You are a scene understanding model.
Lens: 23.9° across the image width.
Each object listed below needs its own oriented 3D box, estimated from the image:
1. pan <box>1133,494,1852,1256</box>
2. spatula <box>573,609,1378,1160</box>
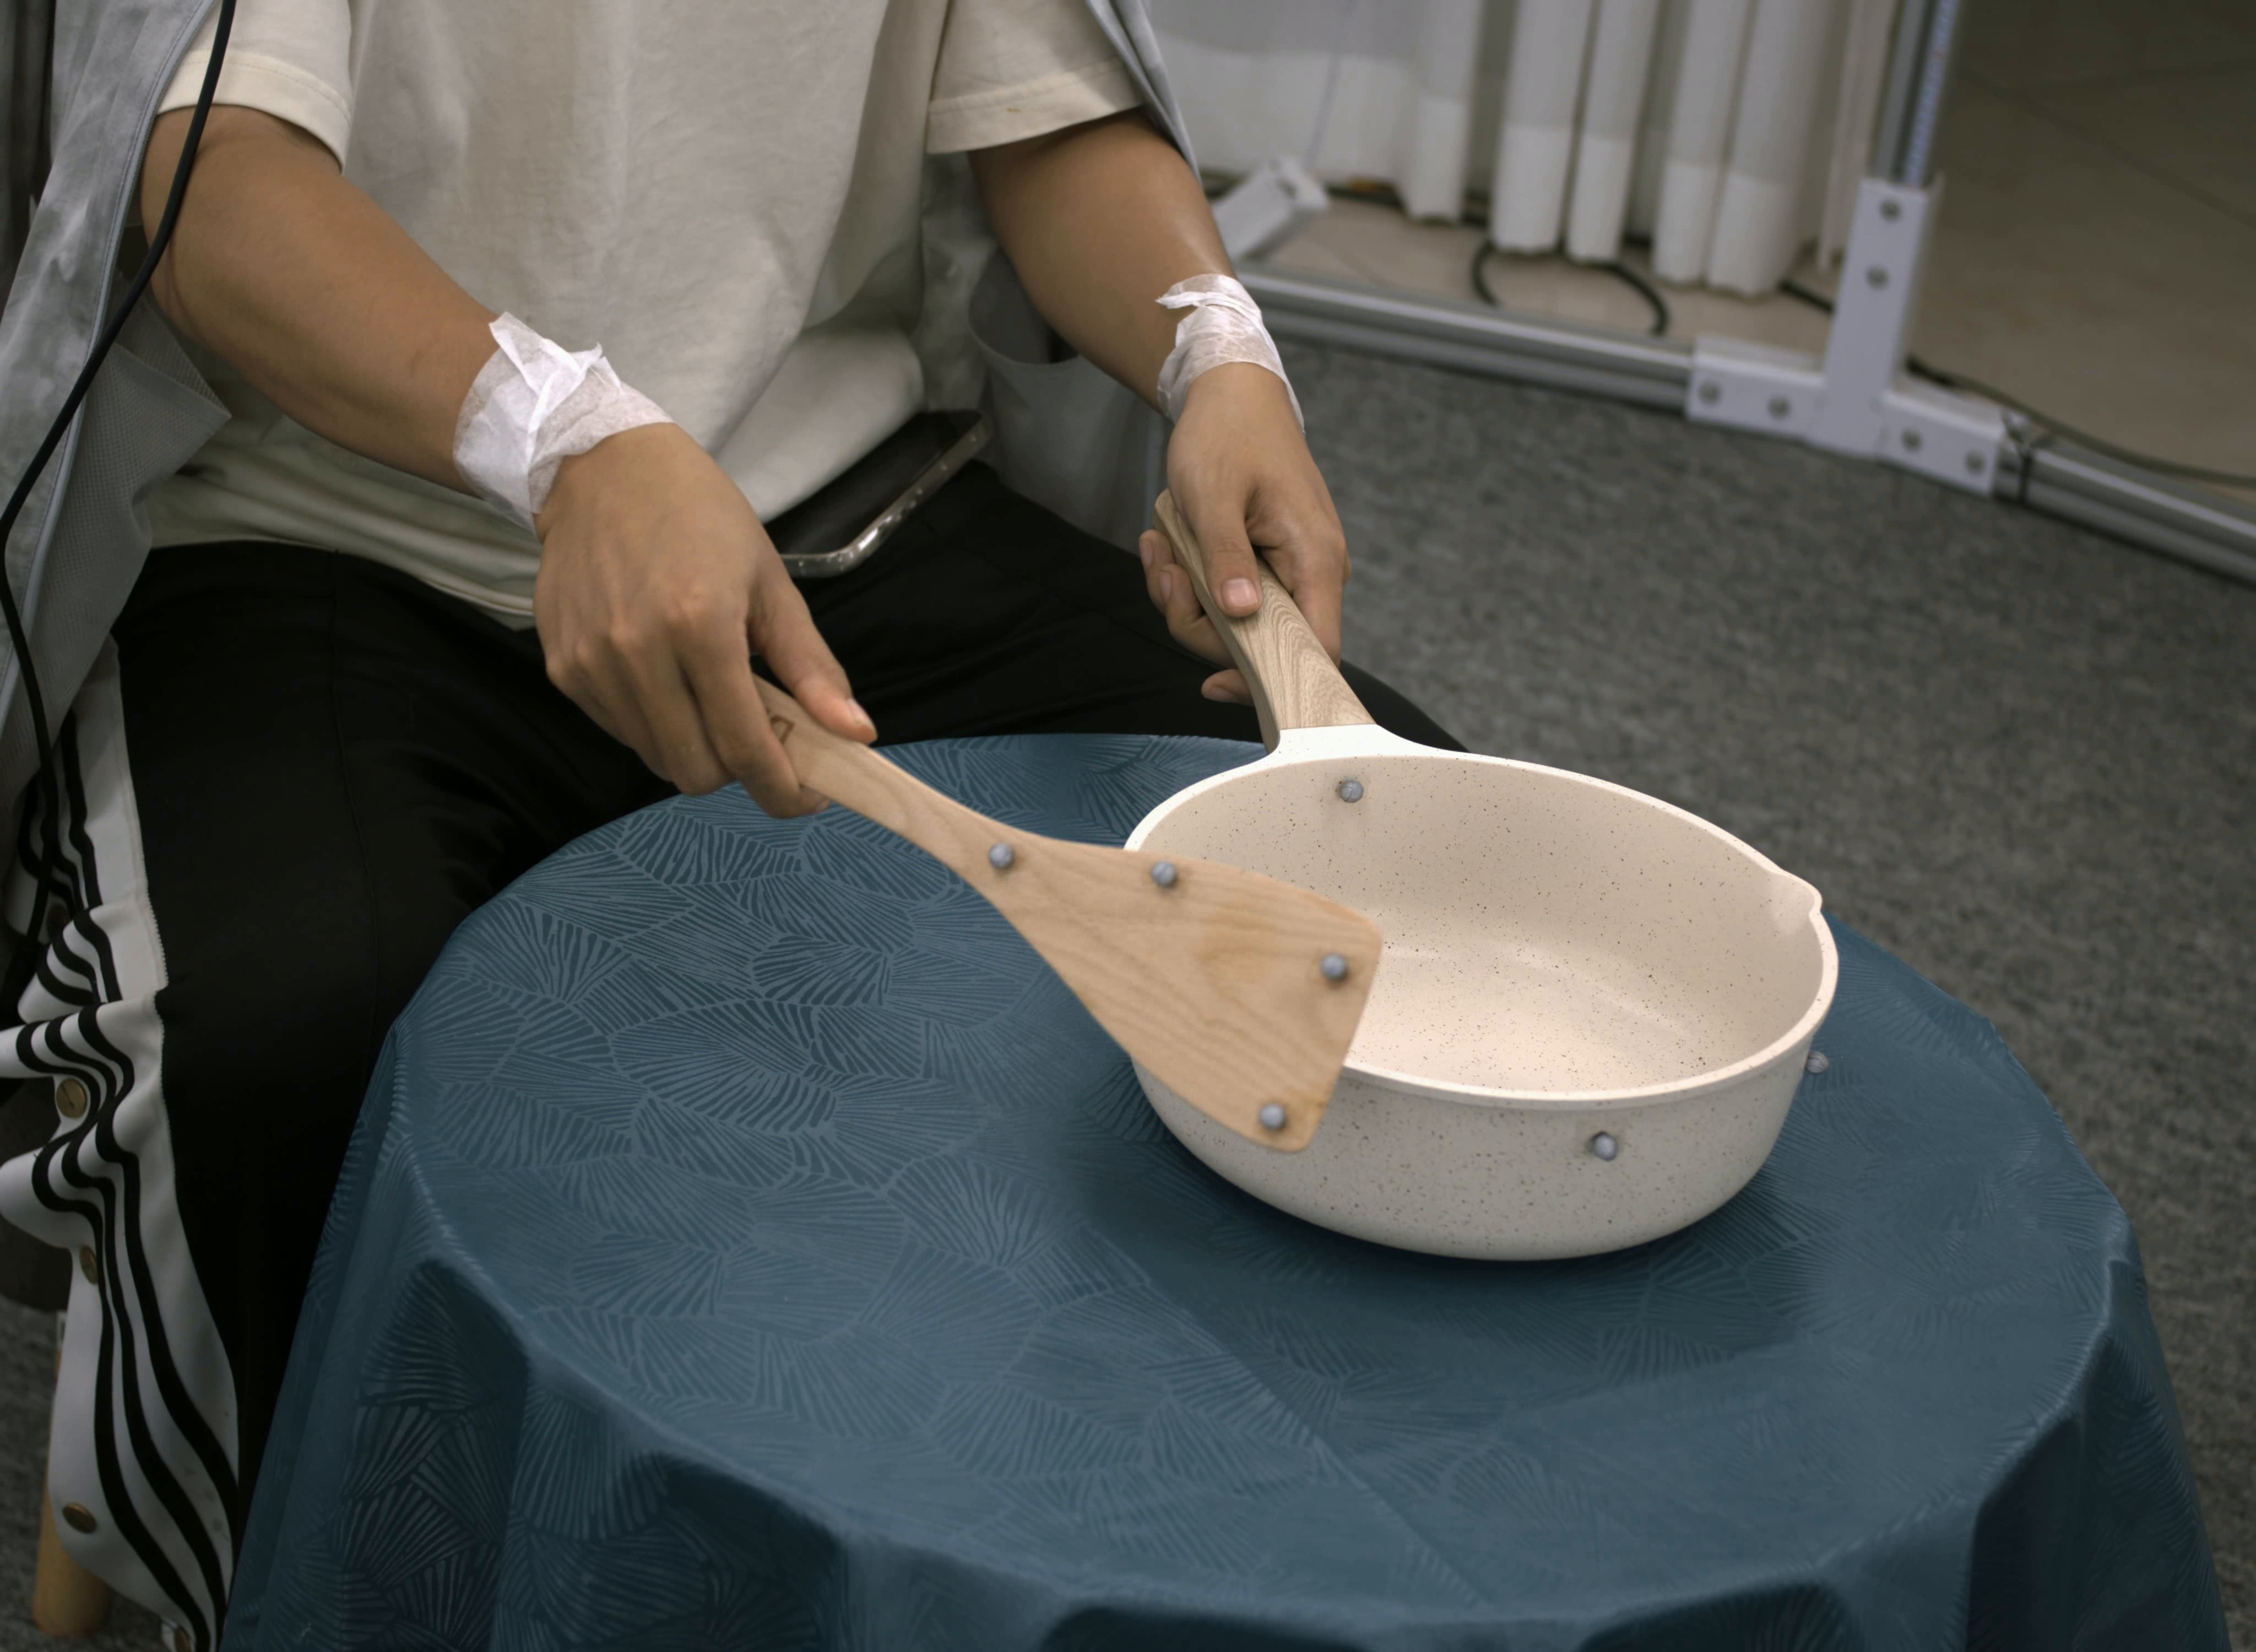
[{"bbox_3d":[0.091,0.015,1.928,0.262,0.101,0.439,-5,29,-19],"label":"pan"},{"bbox_3d":[-0.056,0.003,1.719,0.329,0.080,0.016,29,-2,26],"label":"spatula"}]
